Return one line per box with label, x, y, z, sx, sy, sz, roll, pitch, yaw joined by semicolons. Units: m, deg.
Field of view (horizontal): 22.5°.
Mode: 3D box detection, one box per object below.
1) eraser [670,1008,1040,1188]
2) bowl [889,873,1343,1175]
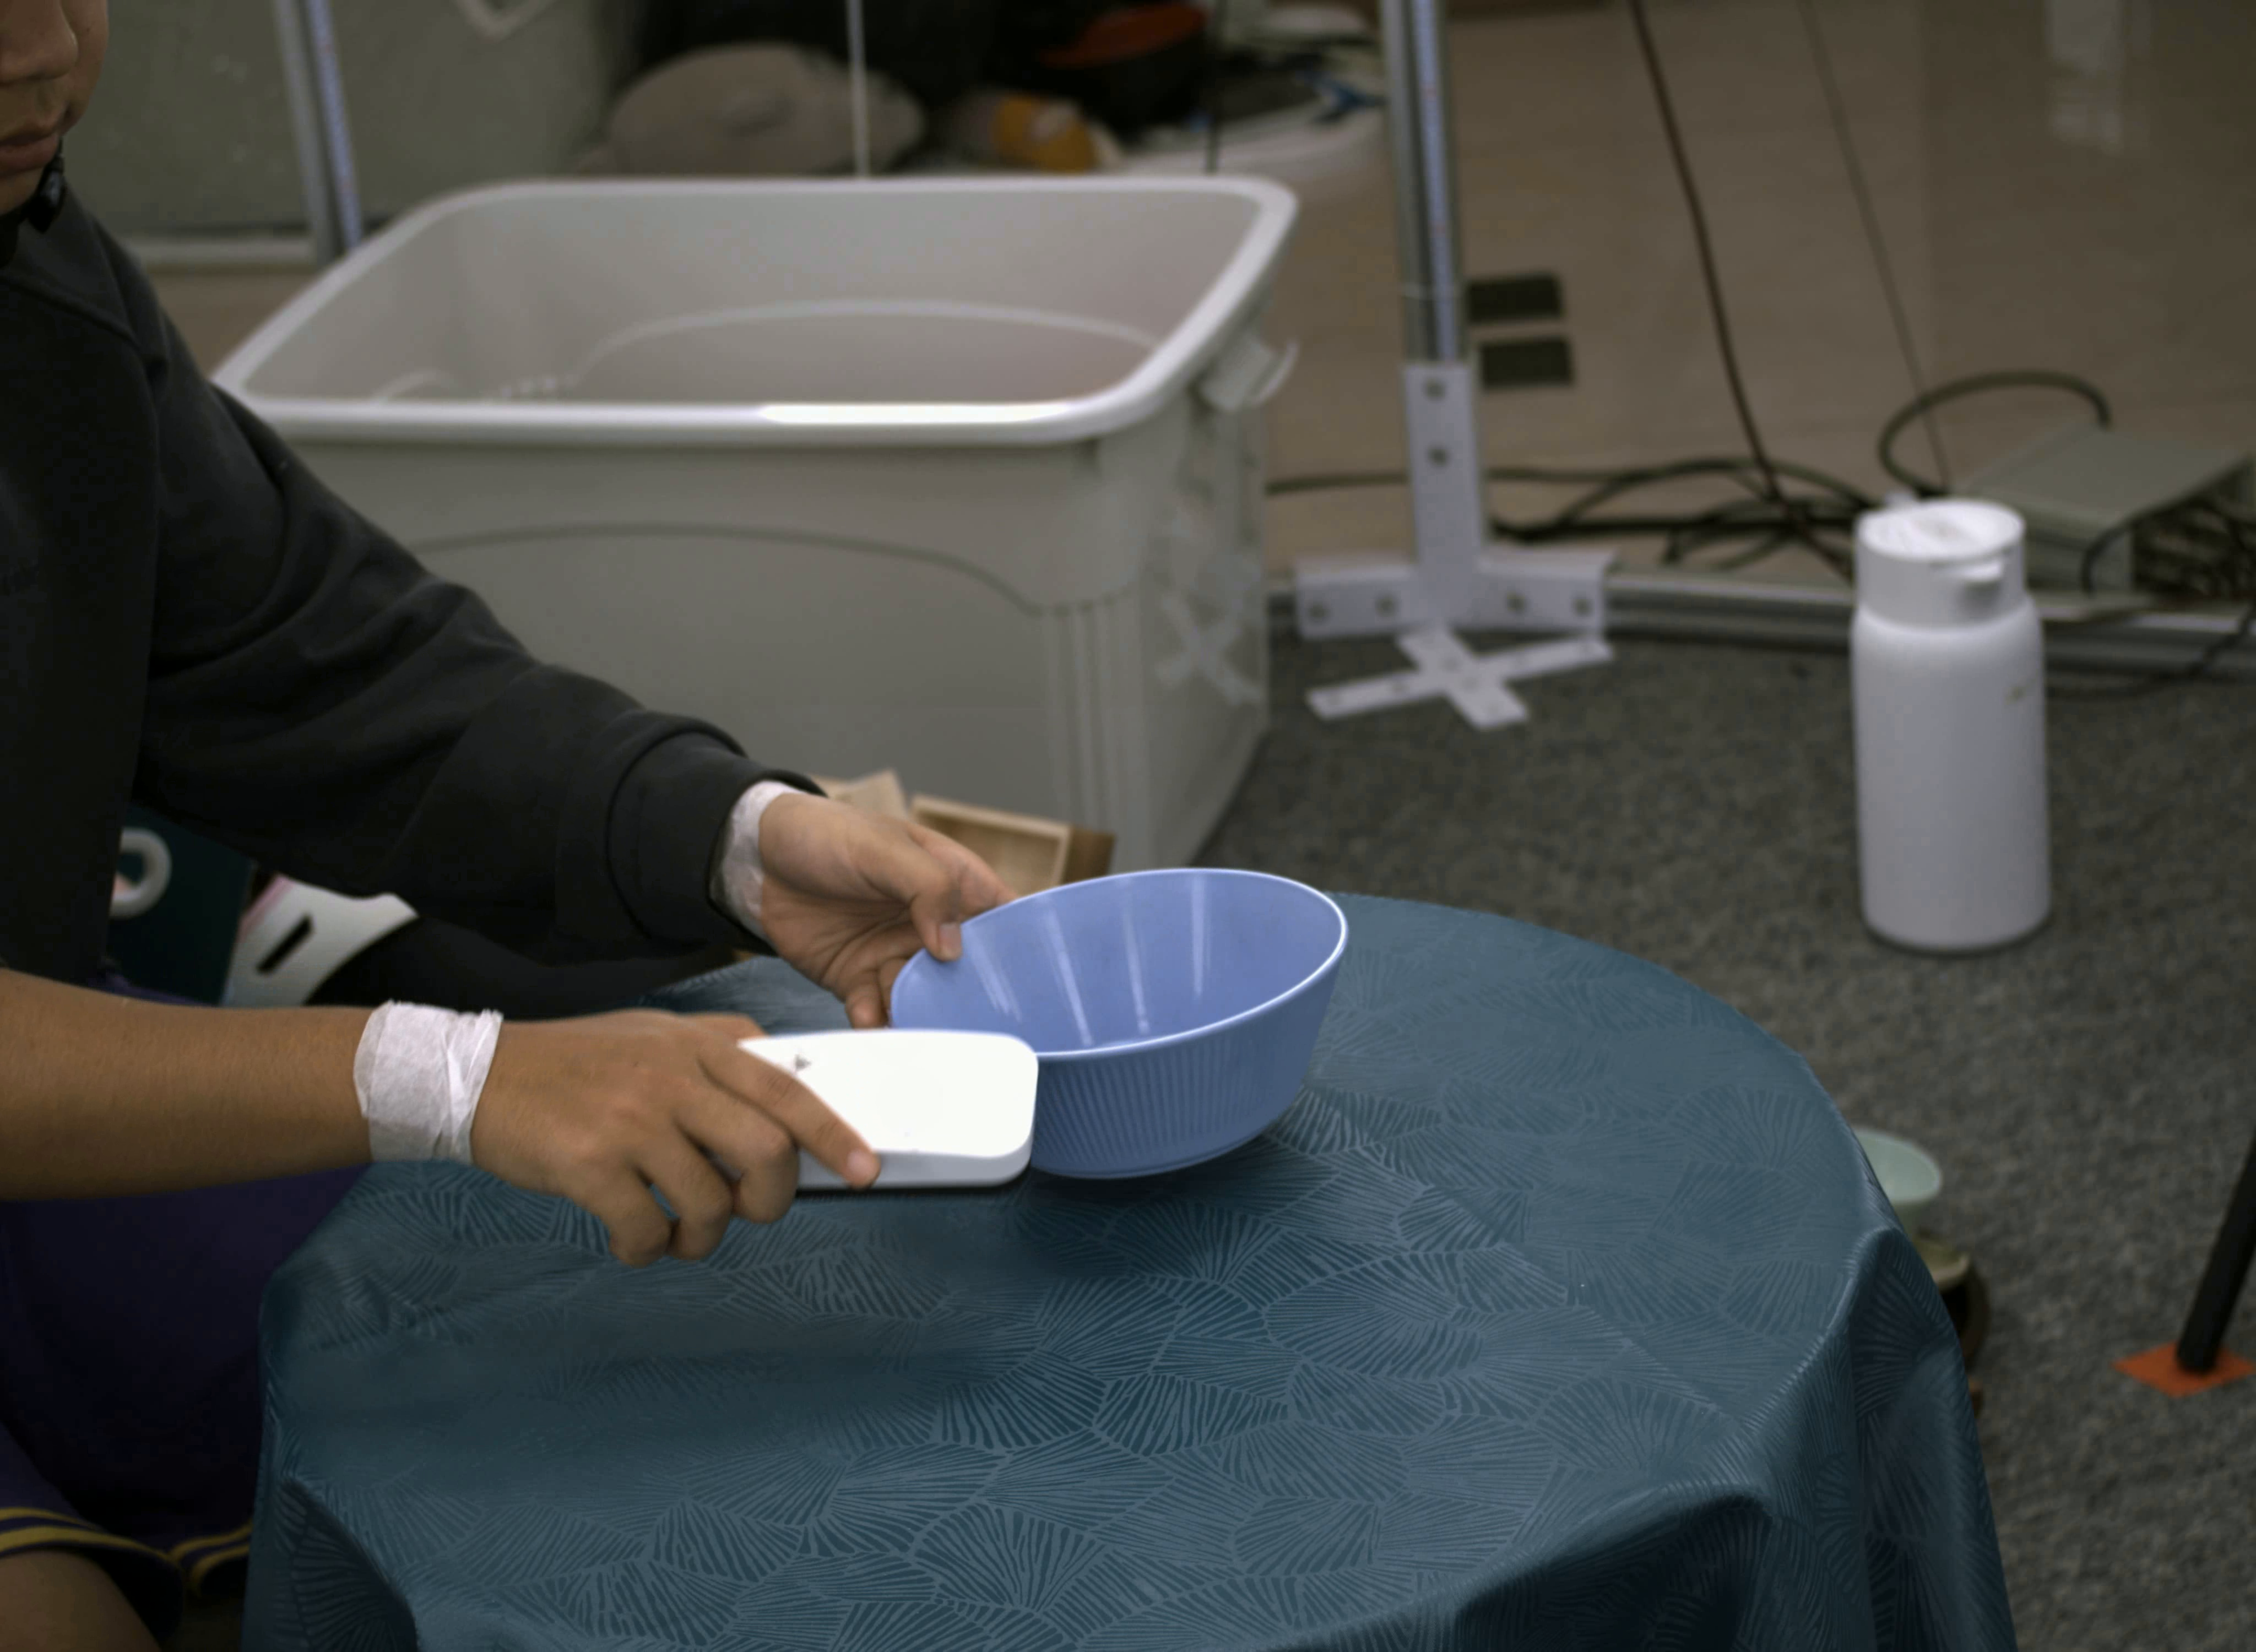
eraser;-0.097;0.099;2.039;0.131;0.035;0.062;1;42;6
bowl;0.000;0.080;2.161;0.176;0.071;0.174;-8;20;3
